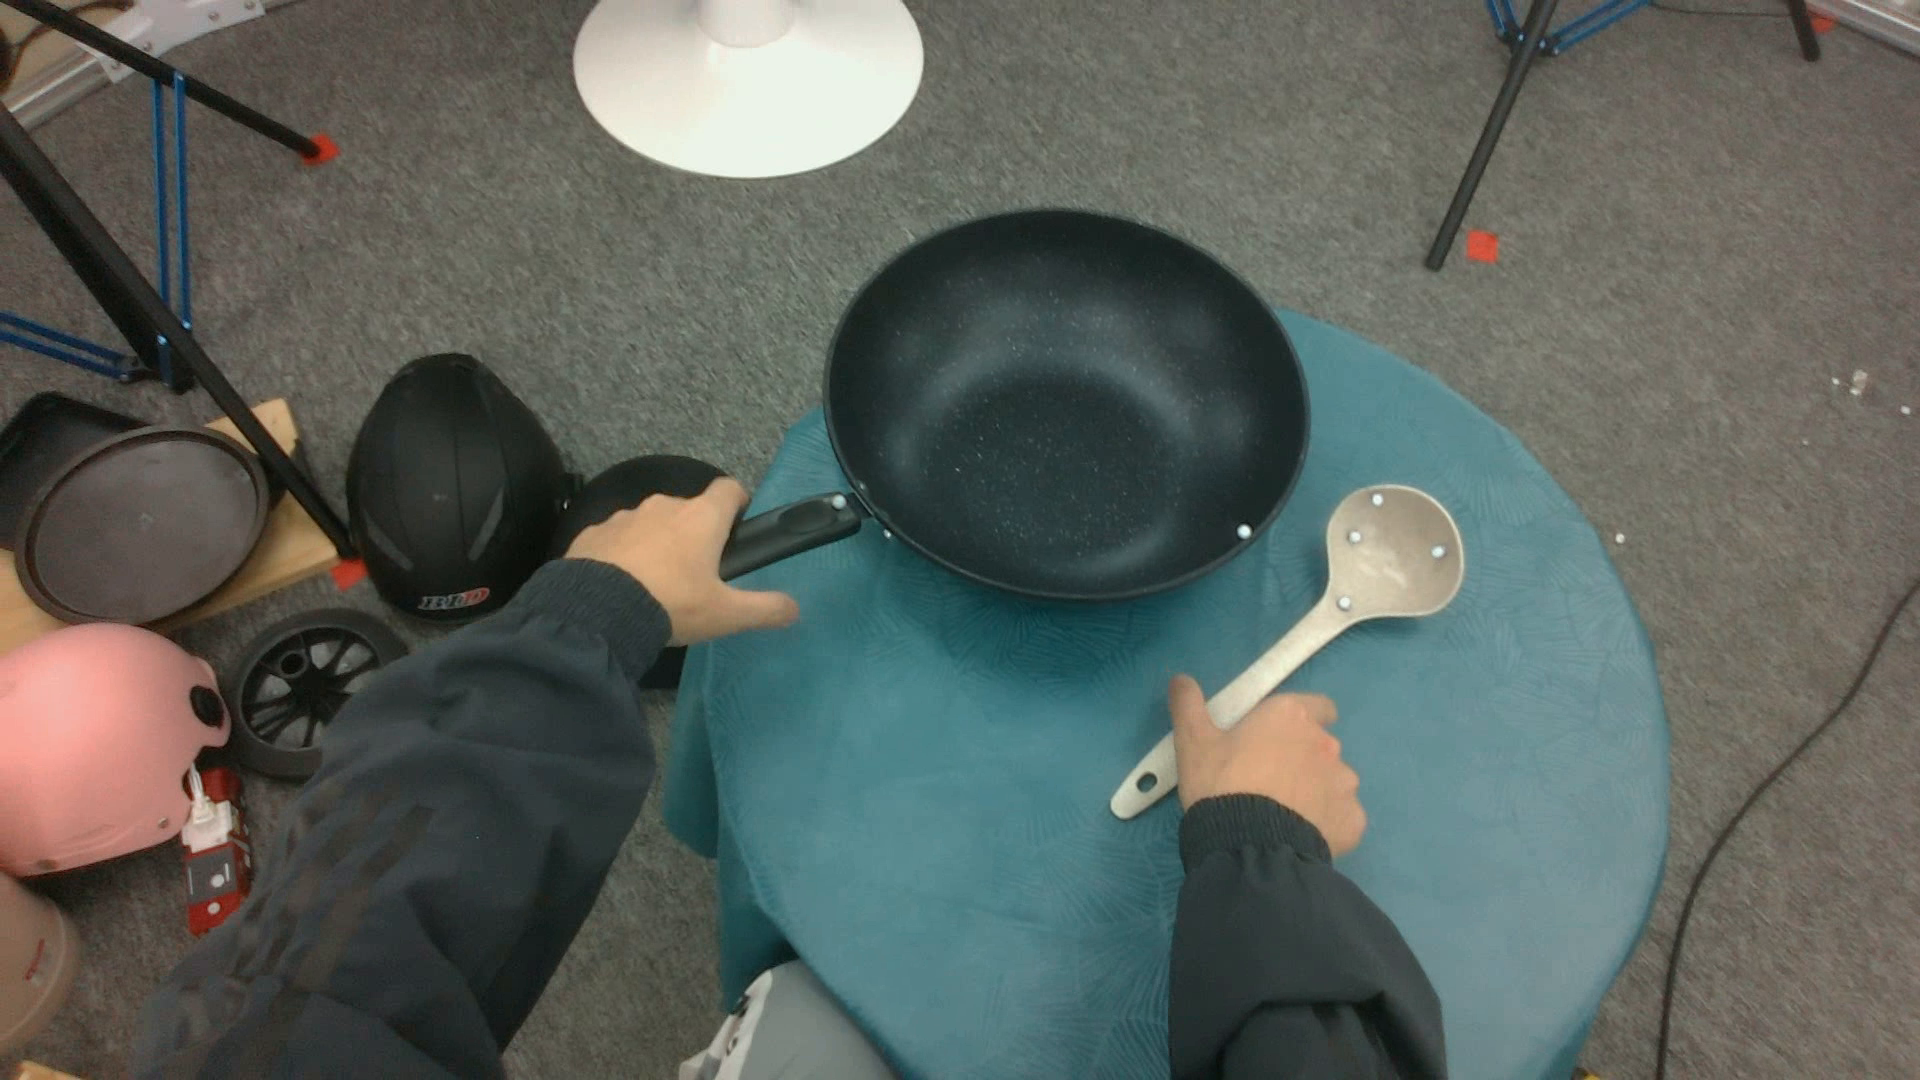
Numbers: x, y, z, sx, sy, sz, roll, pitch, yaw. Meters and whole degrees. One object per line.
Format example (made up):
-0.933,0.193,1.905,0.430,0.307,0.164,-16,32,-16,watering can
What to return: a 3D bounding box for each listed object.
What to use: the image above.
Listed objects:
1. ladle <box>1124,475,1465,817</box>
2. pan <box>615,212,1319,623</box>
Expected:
0.201,0.065,0.839,0.276,0.069,0.089,-40,74,-22,ladle
0.007,-0.046,0.882,0.478,0.111,0.310,-30,62,-19,pan
